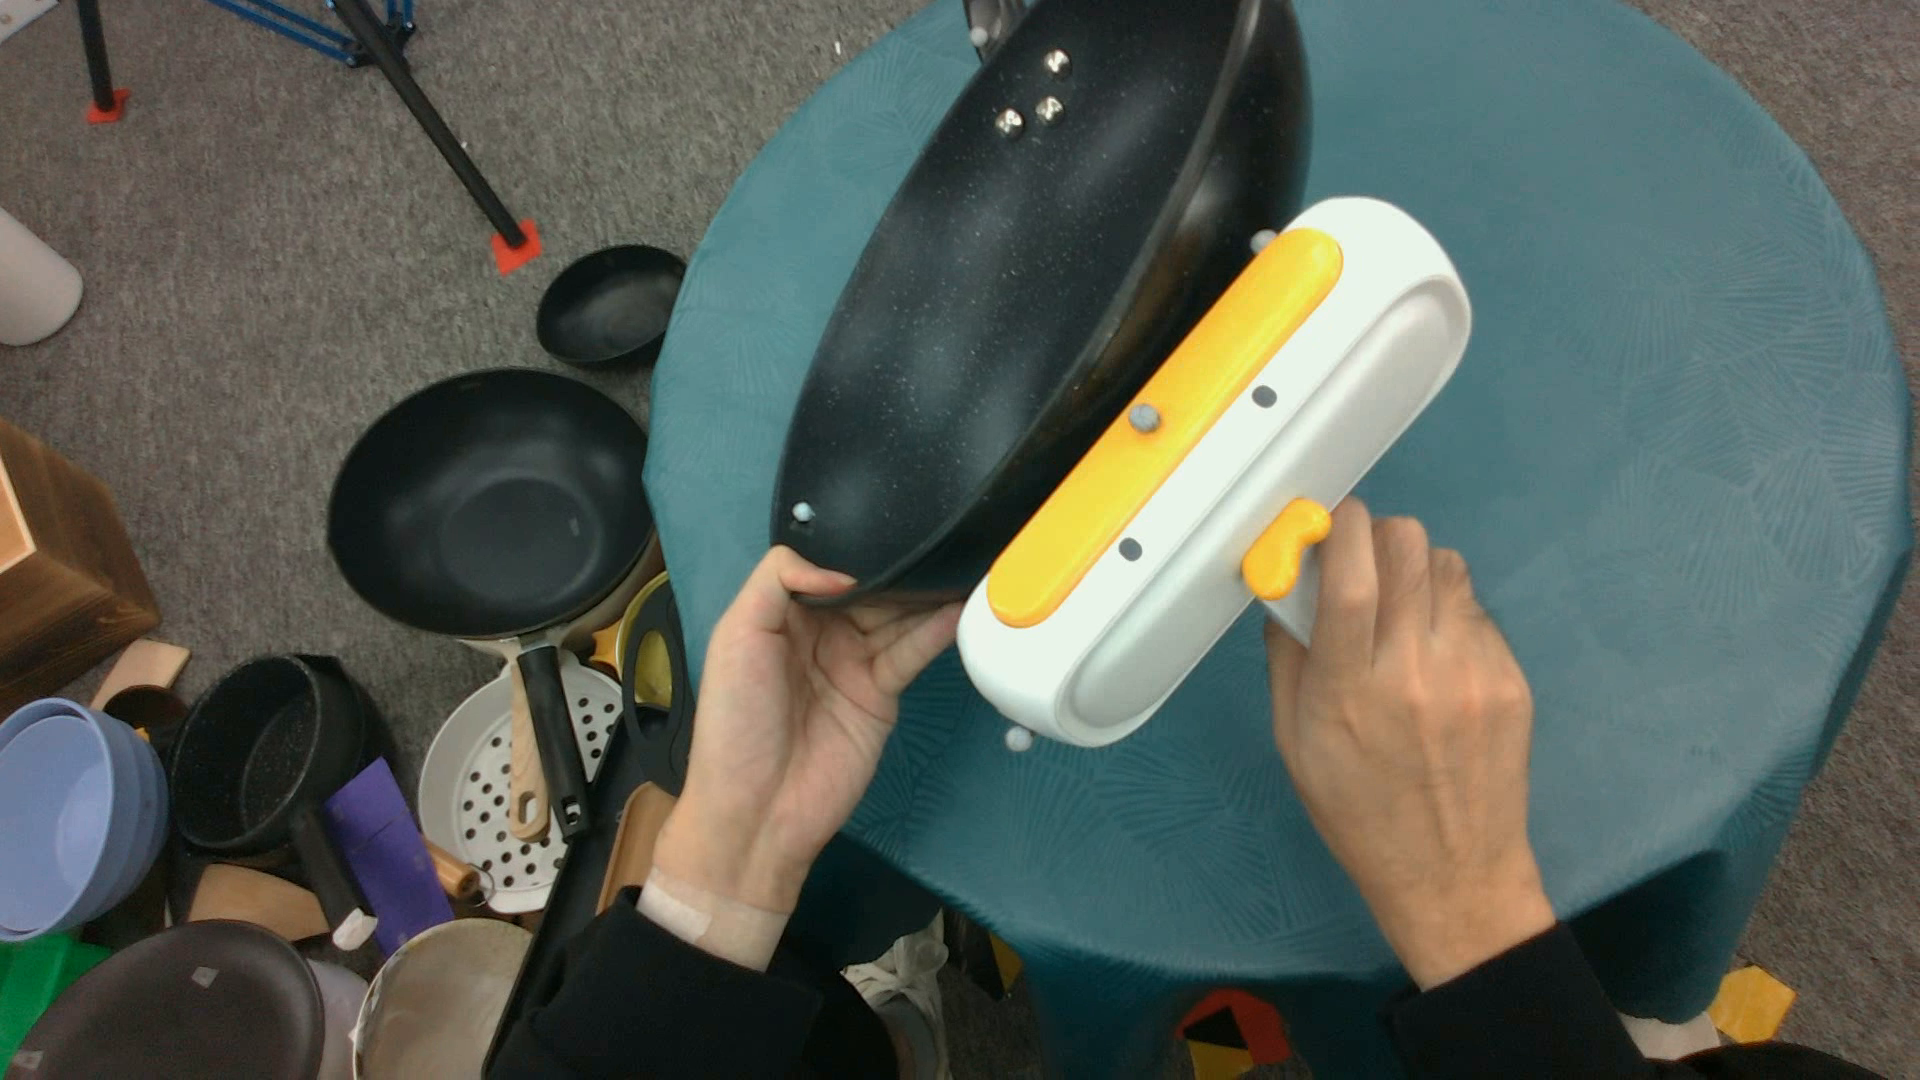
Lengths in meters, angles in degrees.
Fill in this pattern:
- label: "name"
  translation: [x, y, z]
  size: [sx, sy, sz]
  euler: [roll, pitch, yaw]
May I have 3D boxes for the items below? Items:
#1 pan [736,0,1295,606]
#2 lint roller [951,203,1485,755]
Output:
- label: "pan"
  translation: [0.019, -0.169, 0.602]
  size: [0.308, 0.111, 0.479]
  euler: [-40, 34, 36]
- label: "lint roller"
  translation: [0.114, 0.008, 0.469]
  size: [0.193, 0.192, 0.074]
  euler: [-56, 41, 3]
